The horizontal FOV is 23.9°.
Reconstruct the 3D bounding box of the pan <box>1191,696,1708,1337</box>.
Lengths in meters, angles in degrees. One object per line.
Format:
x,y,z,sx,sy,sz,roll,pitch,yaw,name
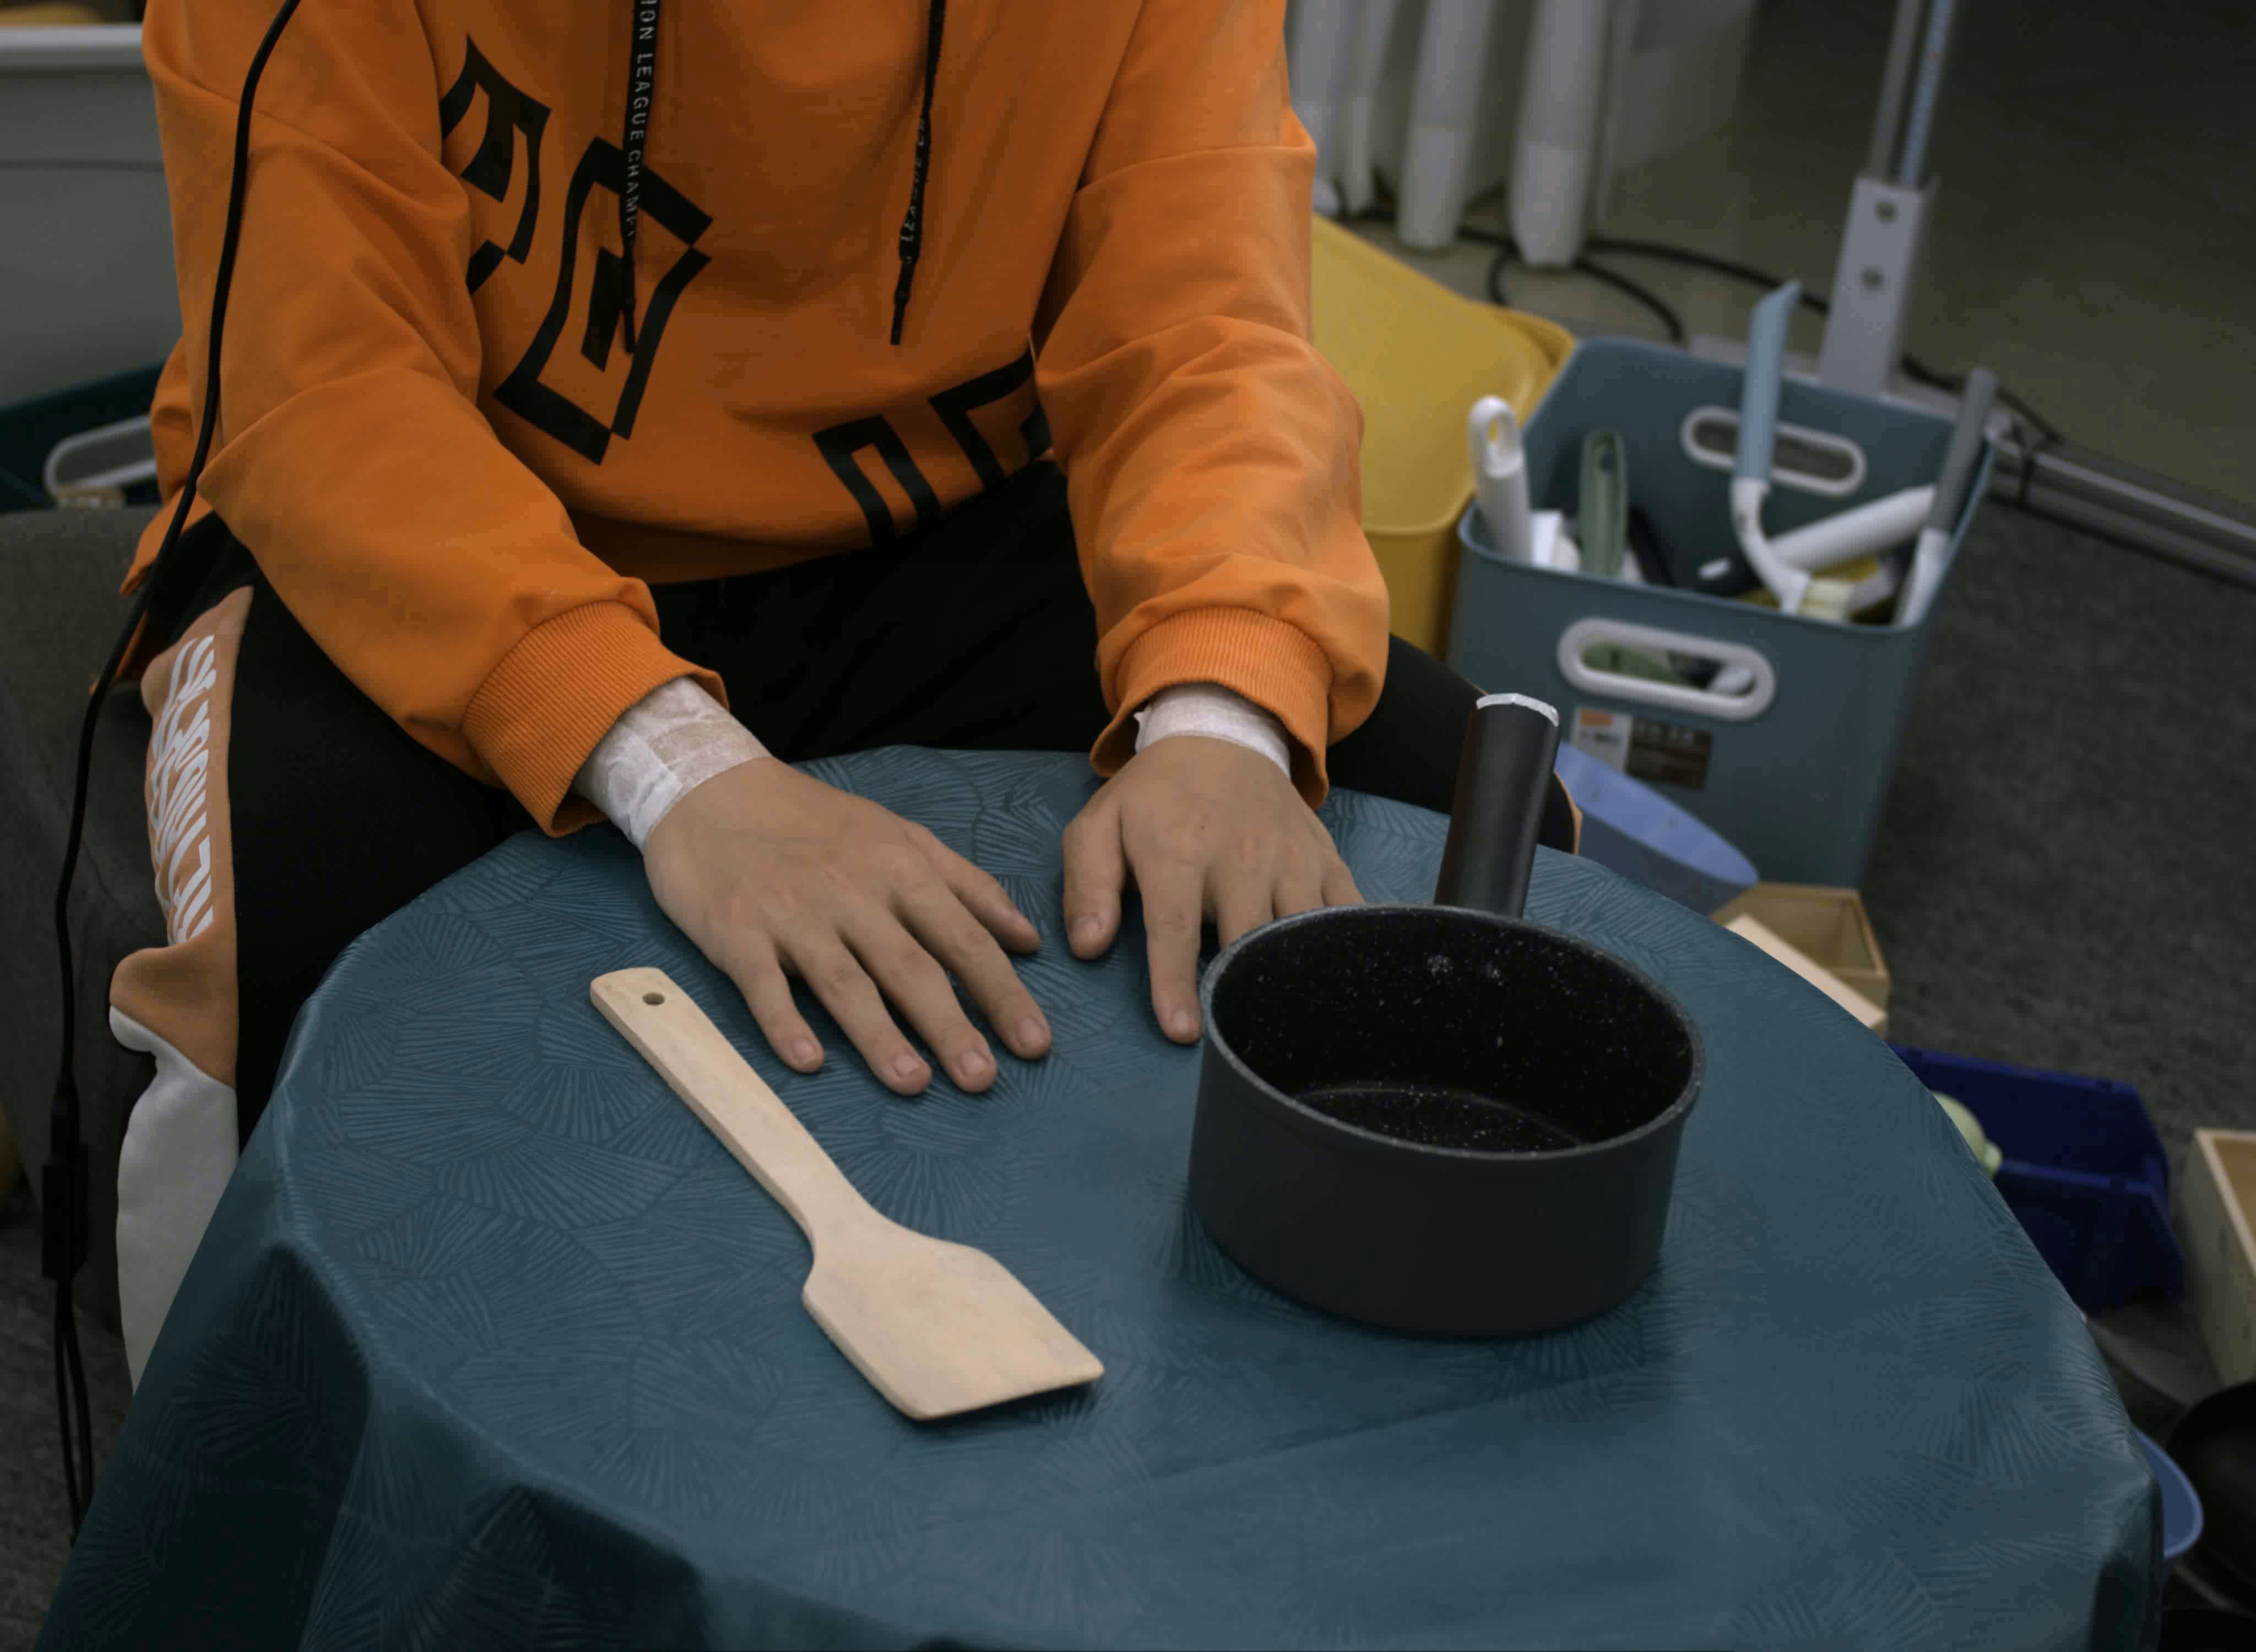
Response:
0.120,0.061,1.859,0.172,0.086,0.330,11,29,7,pan

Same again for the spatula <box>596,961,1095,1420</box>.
-0.110,0.117,1.782,0.072,0.010,0.296,-13,32,-26,spatula
